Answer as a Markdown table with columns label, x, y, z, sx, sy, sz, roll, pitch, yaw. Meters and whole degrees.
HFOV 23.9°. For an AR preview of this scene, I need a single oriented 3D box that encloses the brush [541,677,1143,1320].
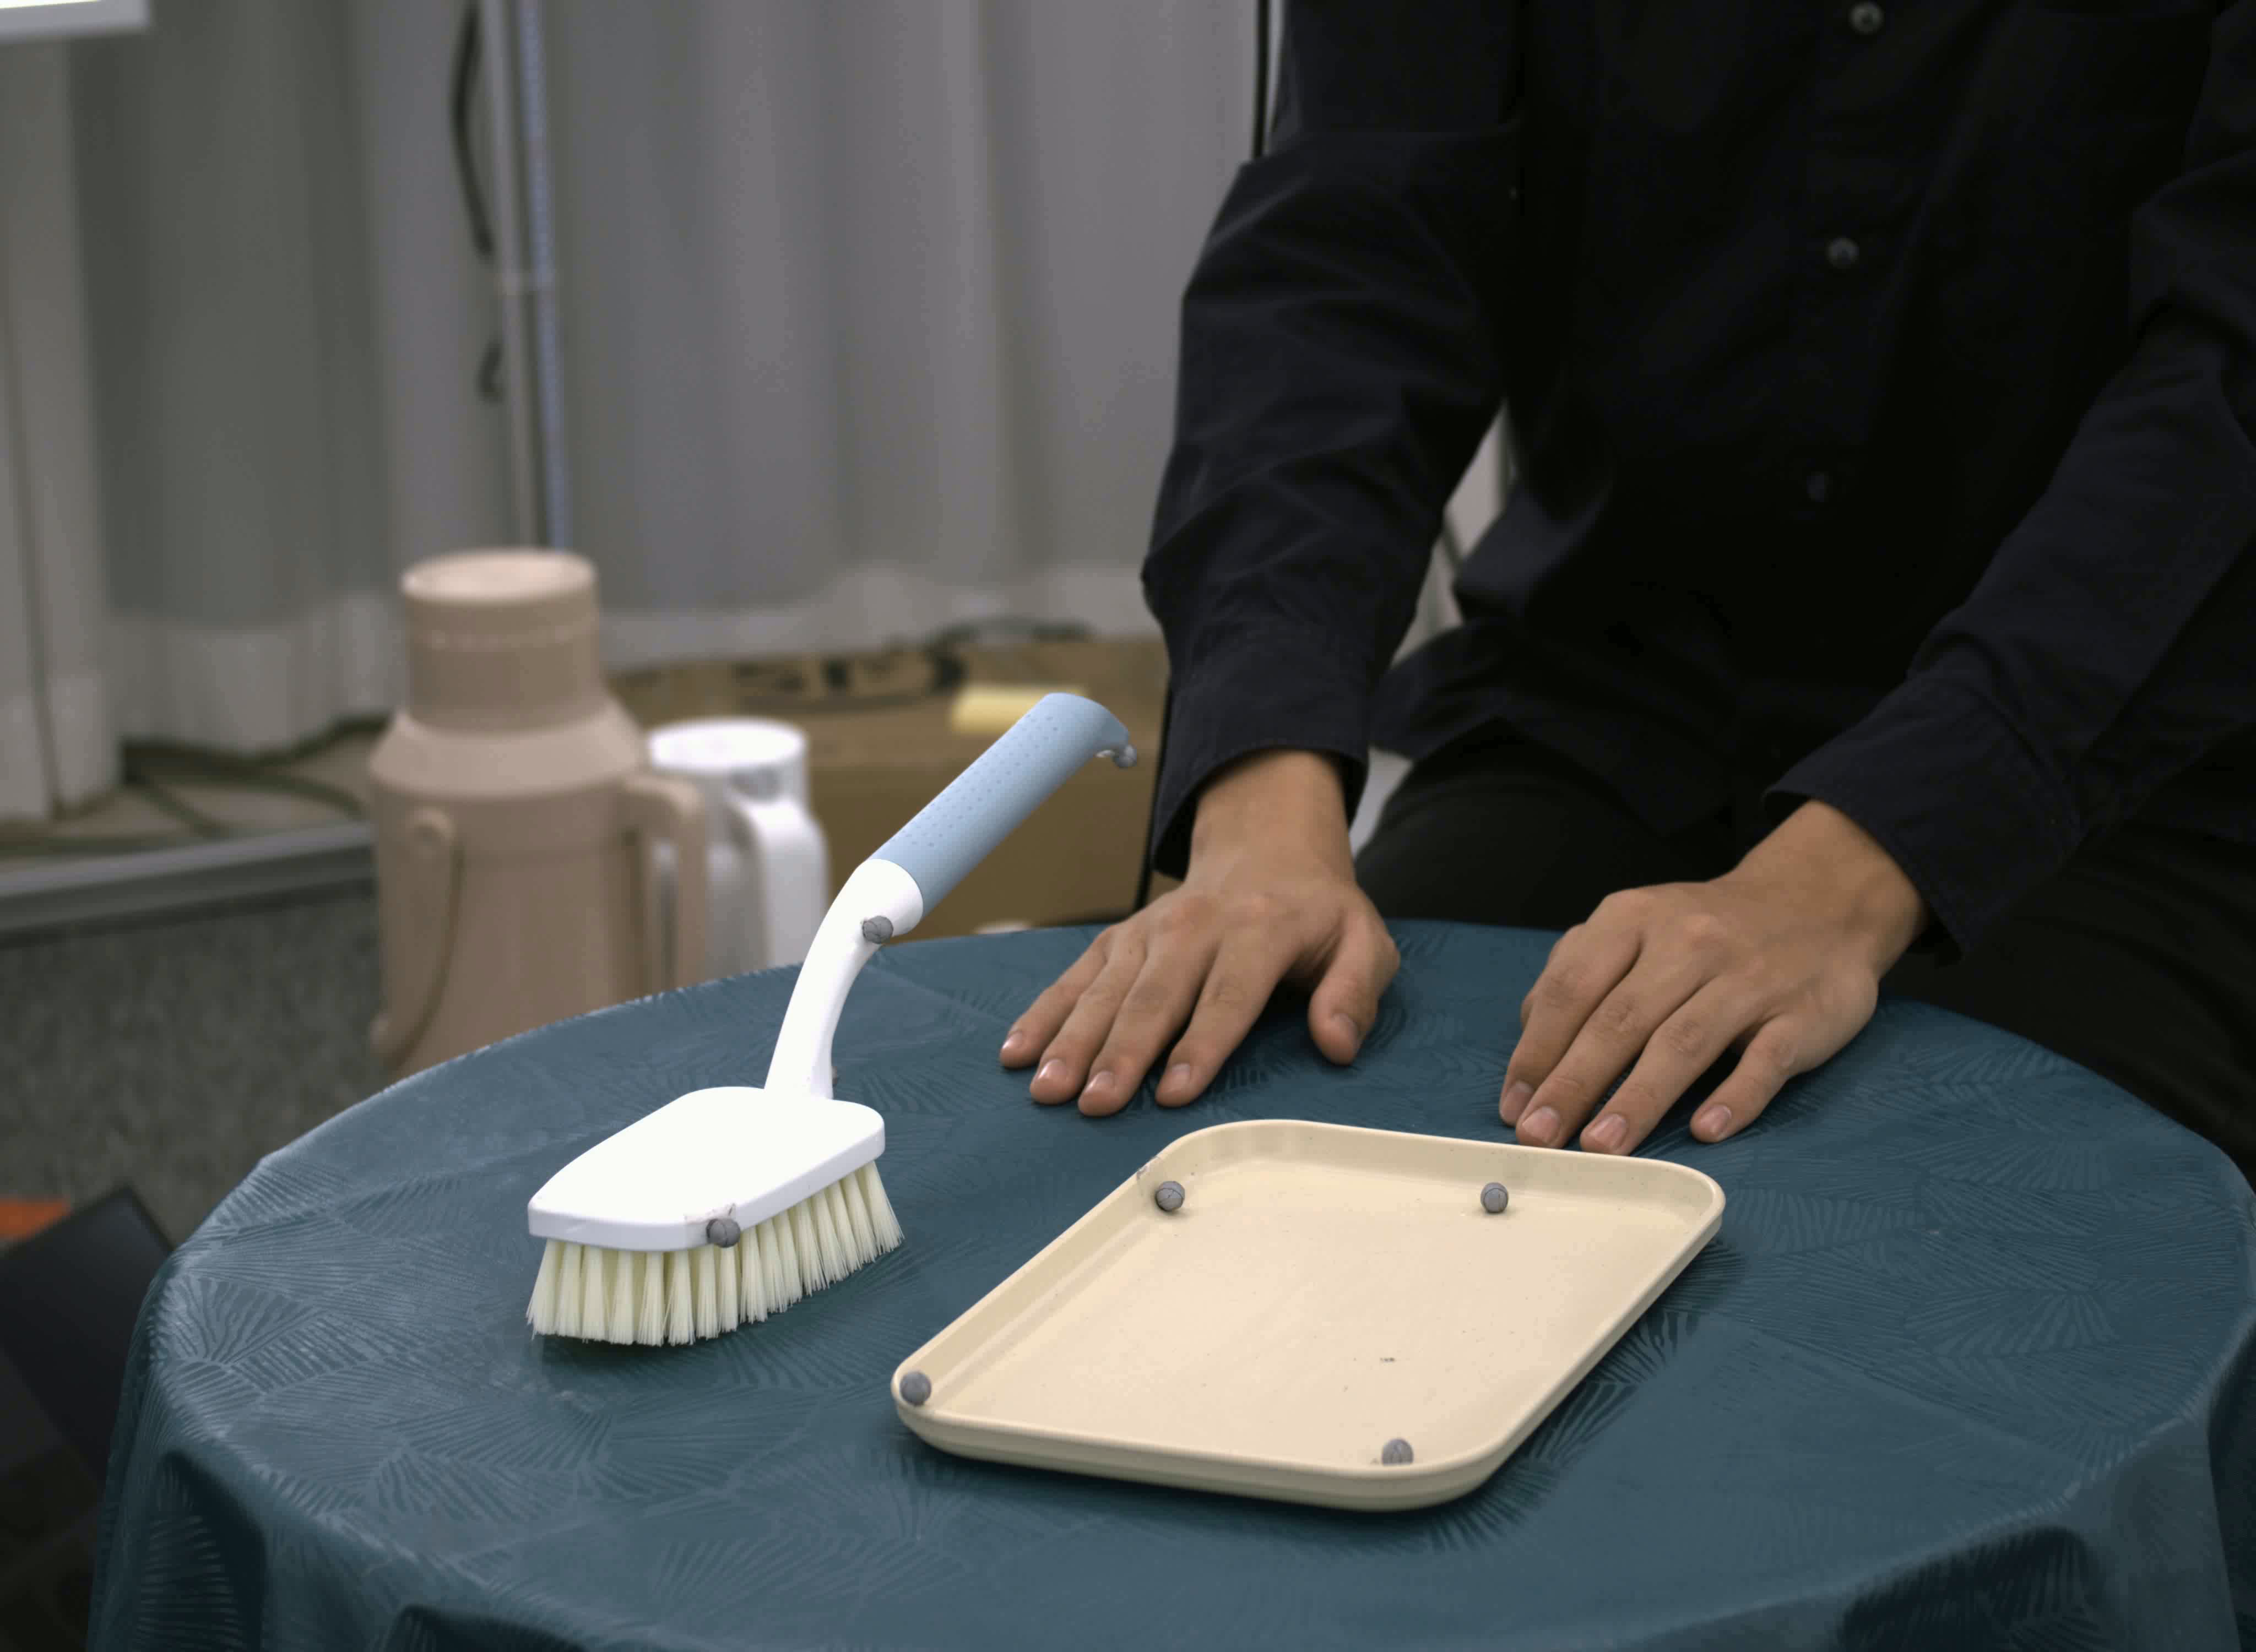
| label | x | y | z | sx | sy | sz | roll | pitch | yaw |
| --- | --- | --- | --- | --- | --- | --- | --- | --- | --- |
| brush | -0.070 | 0.064 | 1.577 | 0.083 | 0.085 | 0.321 | 38 | 41 | 7 |

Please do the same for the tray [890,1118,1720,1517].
| label | x | y | z | sx | sy | sz | roll | pitch | yaw |
| --- | --- | --- | --- | --- | --- | --- | --- | --- | --- |
| tray | 0.053 | 0.132 | 1.443 | 0.174 | 0.017 | 0.236 | 5 | 18 | 25 |
